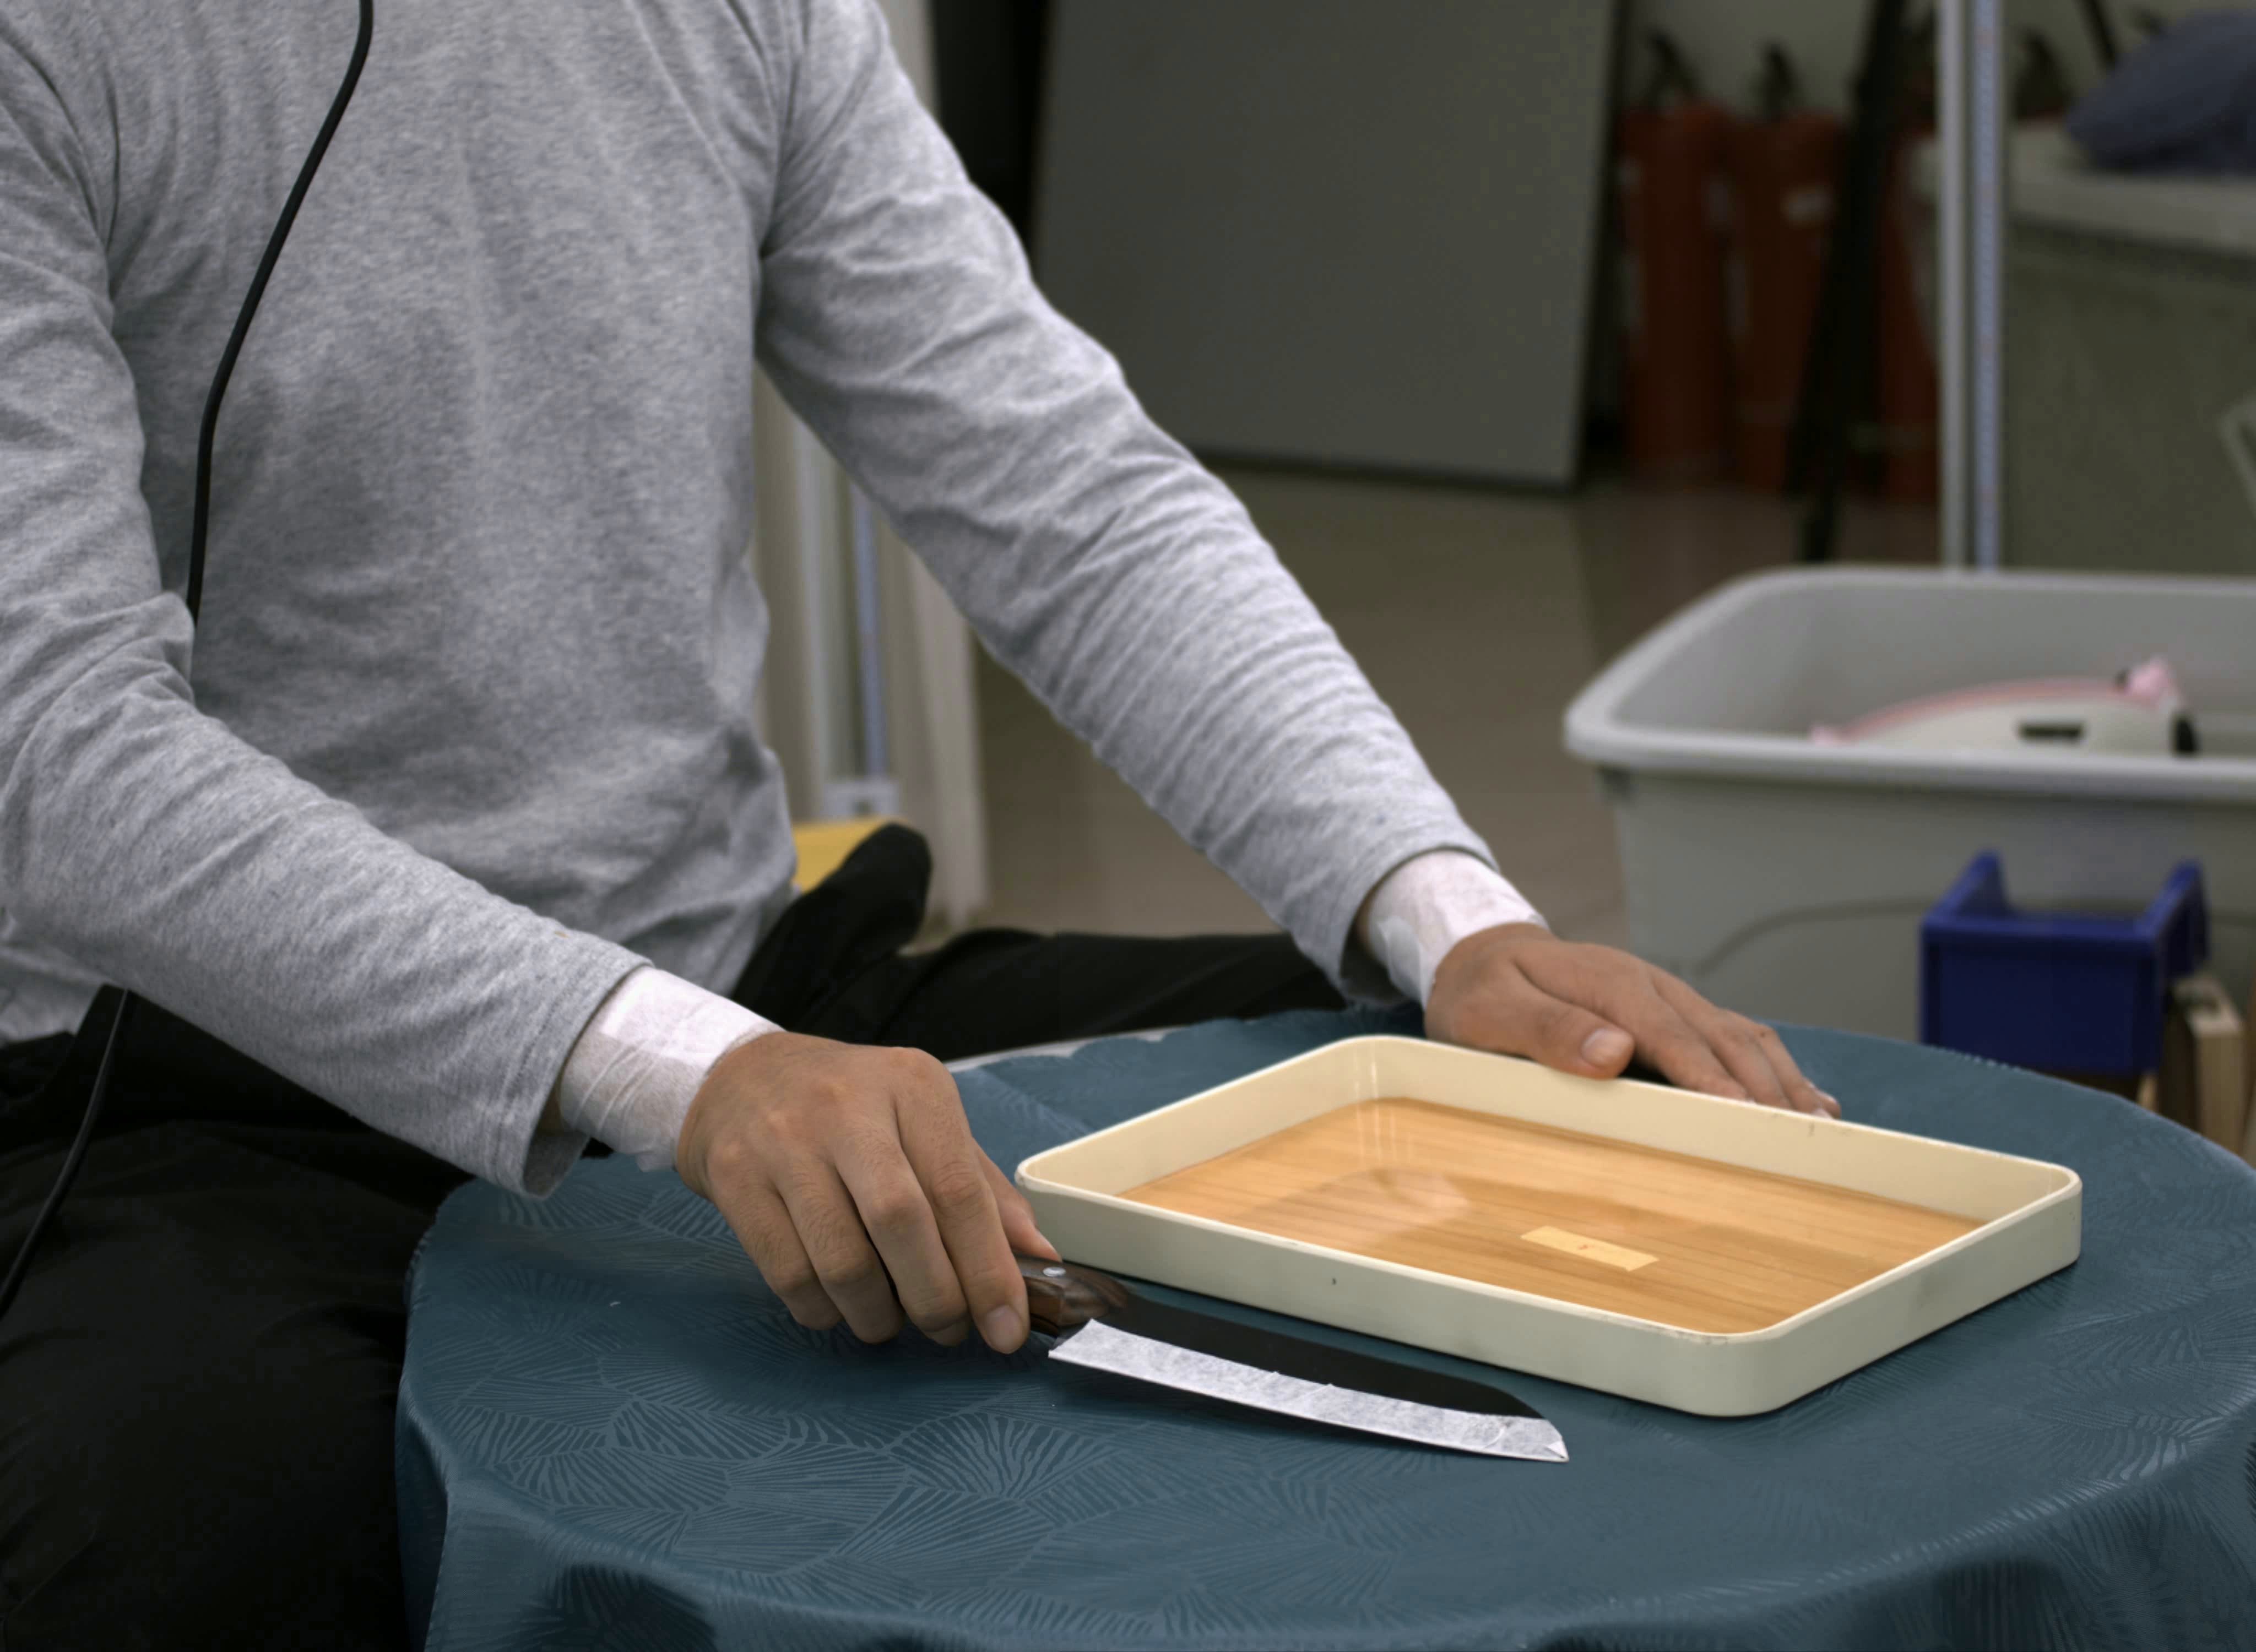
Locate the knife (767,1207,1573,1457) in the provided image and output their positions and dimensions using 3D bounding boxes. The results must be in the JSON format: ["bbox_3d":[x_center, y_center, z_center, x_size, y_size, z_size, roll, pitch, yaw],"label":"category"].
[{"bbox_3d":[0.007,0.151,1.589,0.291,0.020,0.049,11,29,34],"label":"knife"}]

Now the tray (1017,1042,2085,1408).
[{"bbox_3d":[0.129,0.121,1.683,0.303,0.028,0.188,9,18,43],"label":"tray"}]
